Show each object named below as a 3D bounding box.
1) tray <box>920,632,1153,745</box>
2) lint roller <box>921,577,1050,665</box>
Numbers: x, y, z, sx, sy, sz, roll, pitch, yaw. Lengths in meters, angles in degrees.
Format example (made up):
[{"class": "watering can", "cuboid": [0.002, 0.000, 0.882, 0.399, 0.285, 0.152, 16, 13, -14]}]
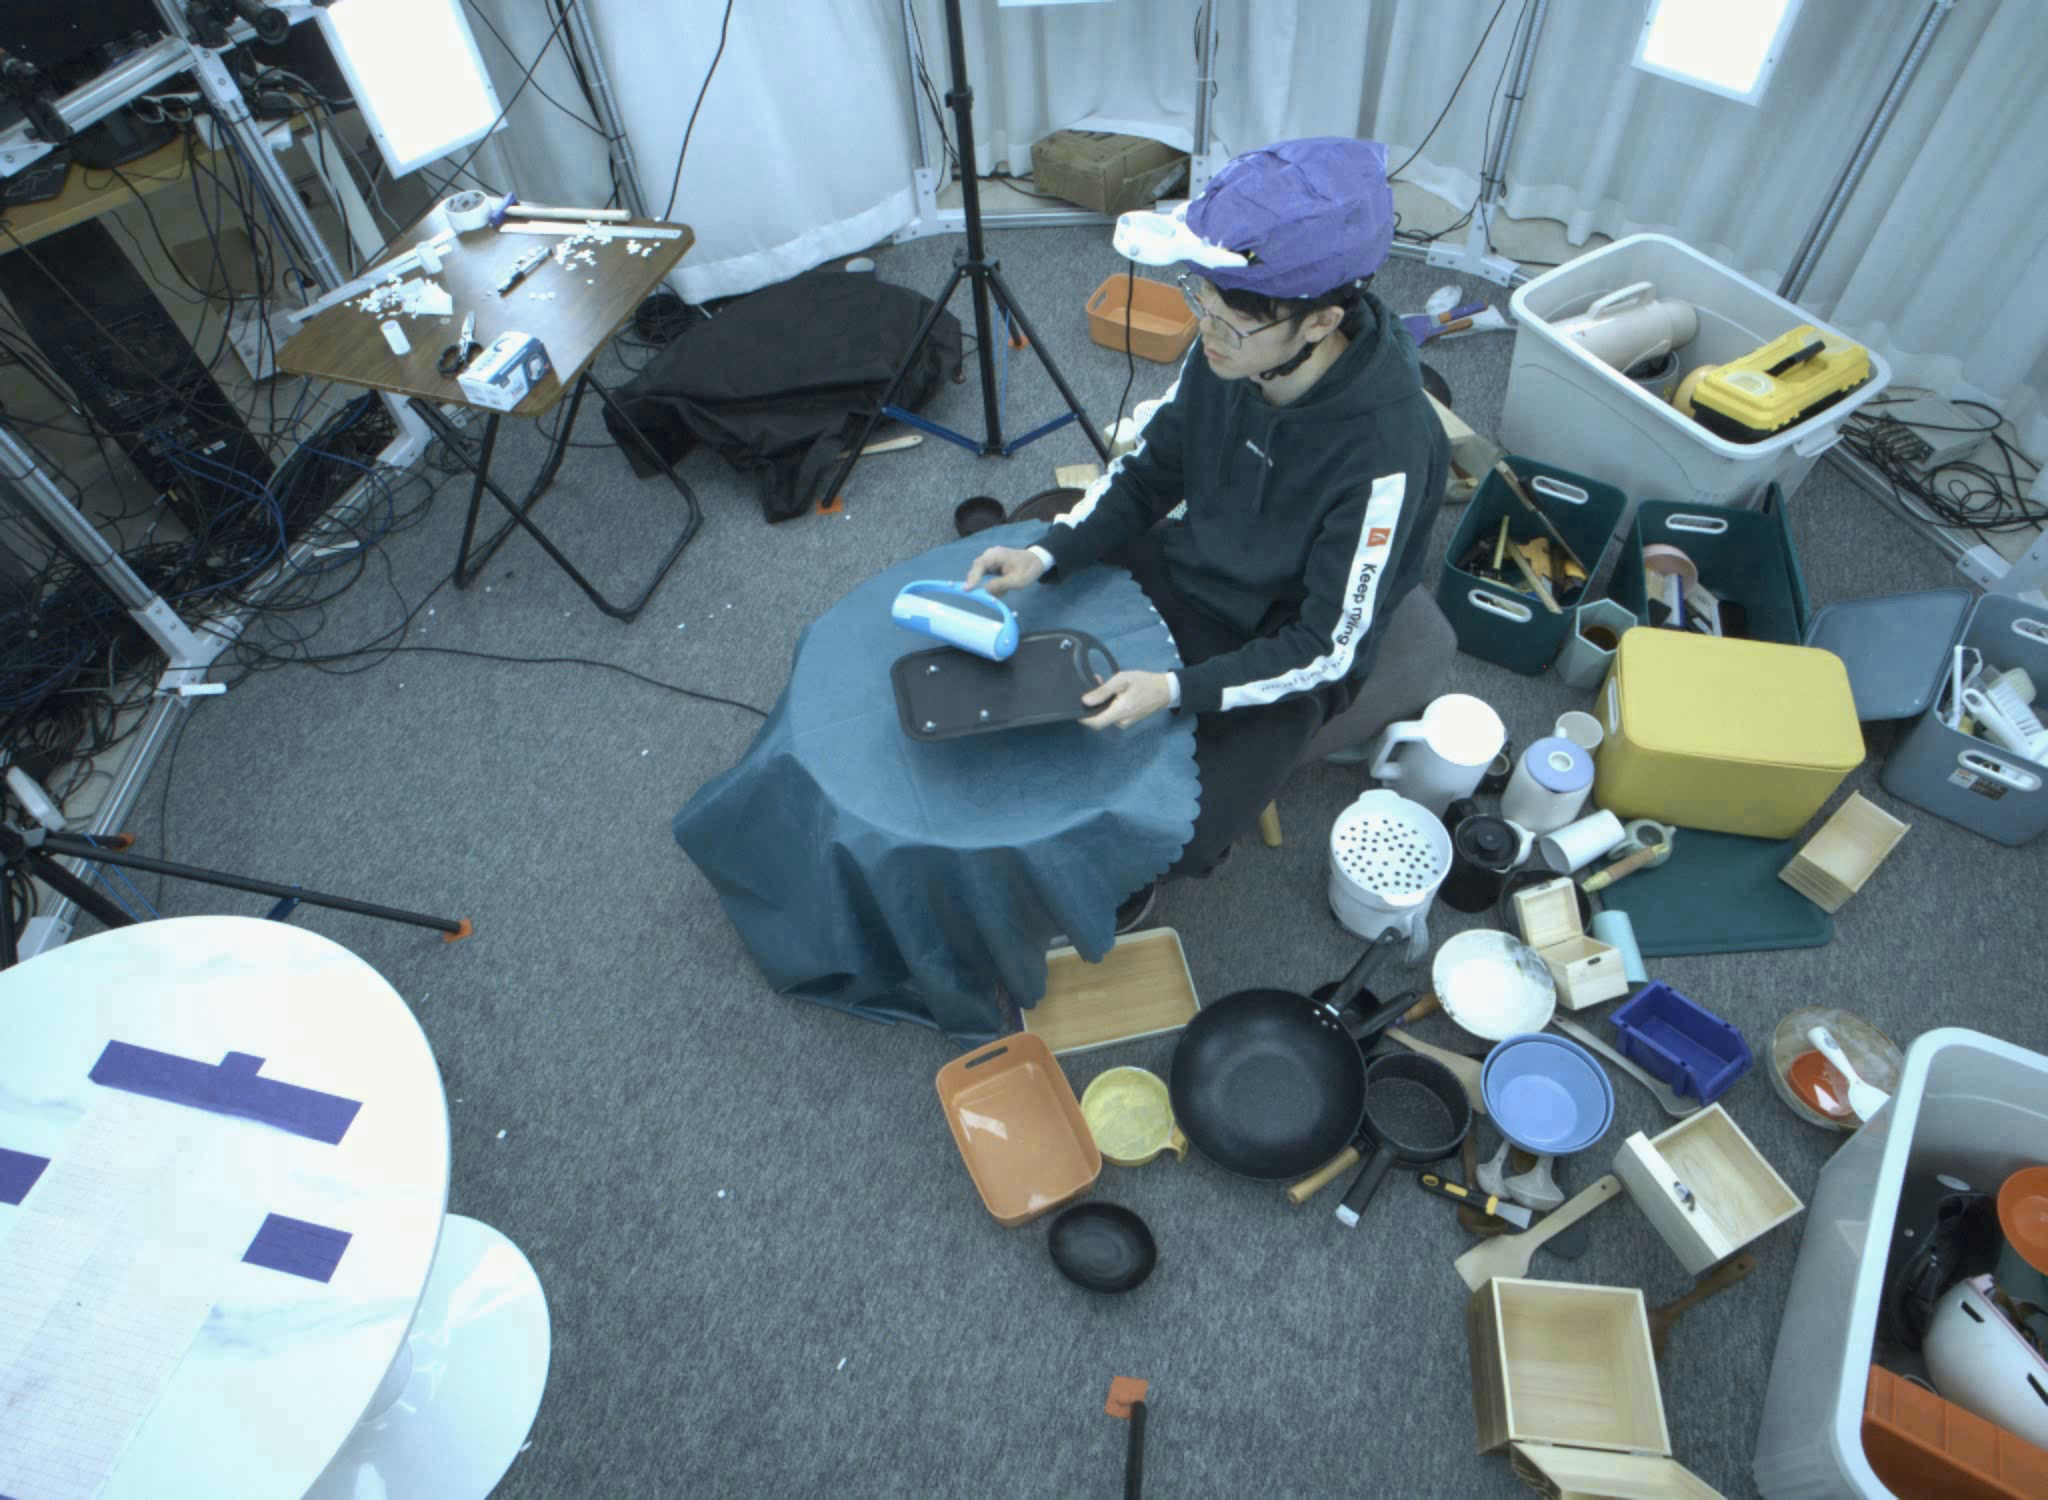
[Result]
[{"class": "tray", "cuboid": [0.019, -0.094, 1.743, 0.327, 0.010, 0.207, -8, 43, -8]}, {"class": "lint roller", "cuboid": [-0.028, -0.217, 1.824, 0.224, 0.069, 0.181, 20, 54, 30]}]
